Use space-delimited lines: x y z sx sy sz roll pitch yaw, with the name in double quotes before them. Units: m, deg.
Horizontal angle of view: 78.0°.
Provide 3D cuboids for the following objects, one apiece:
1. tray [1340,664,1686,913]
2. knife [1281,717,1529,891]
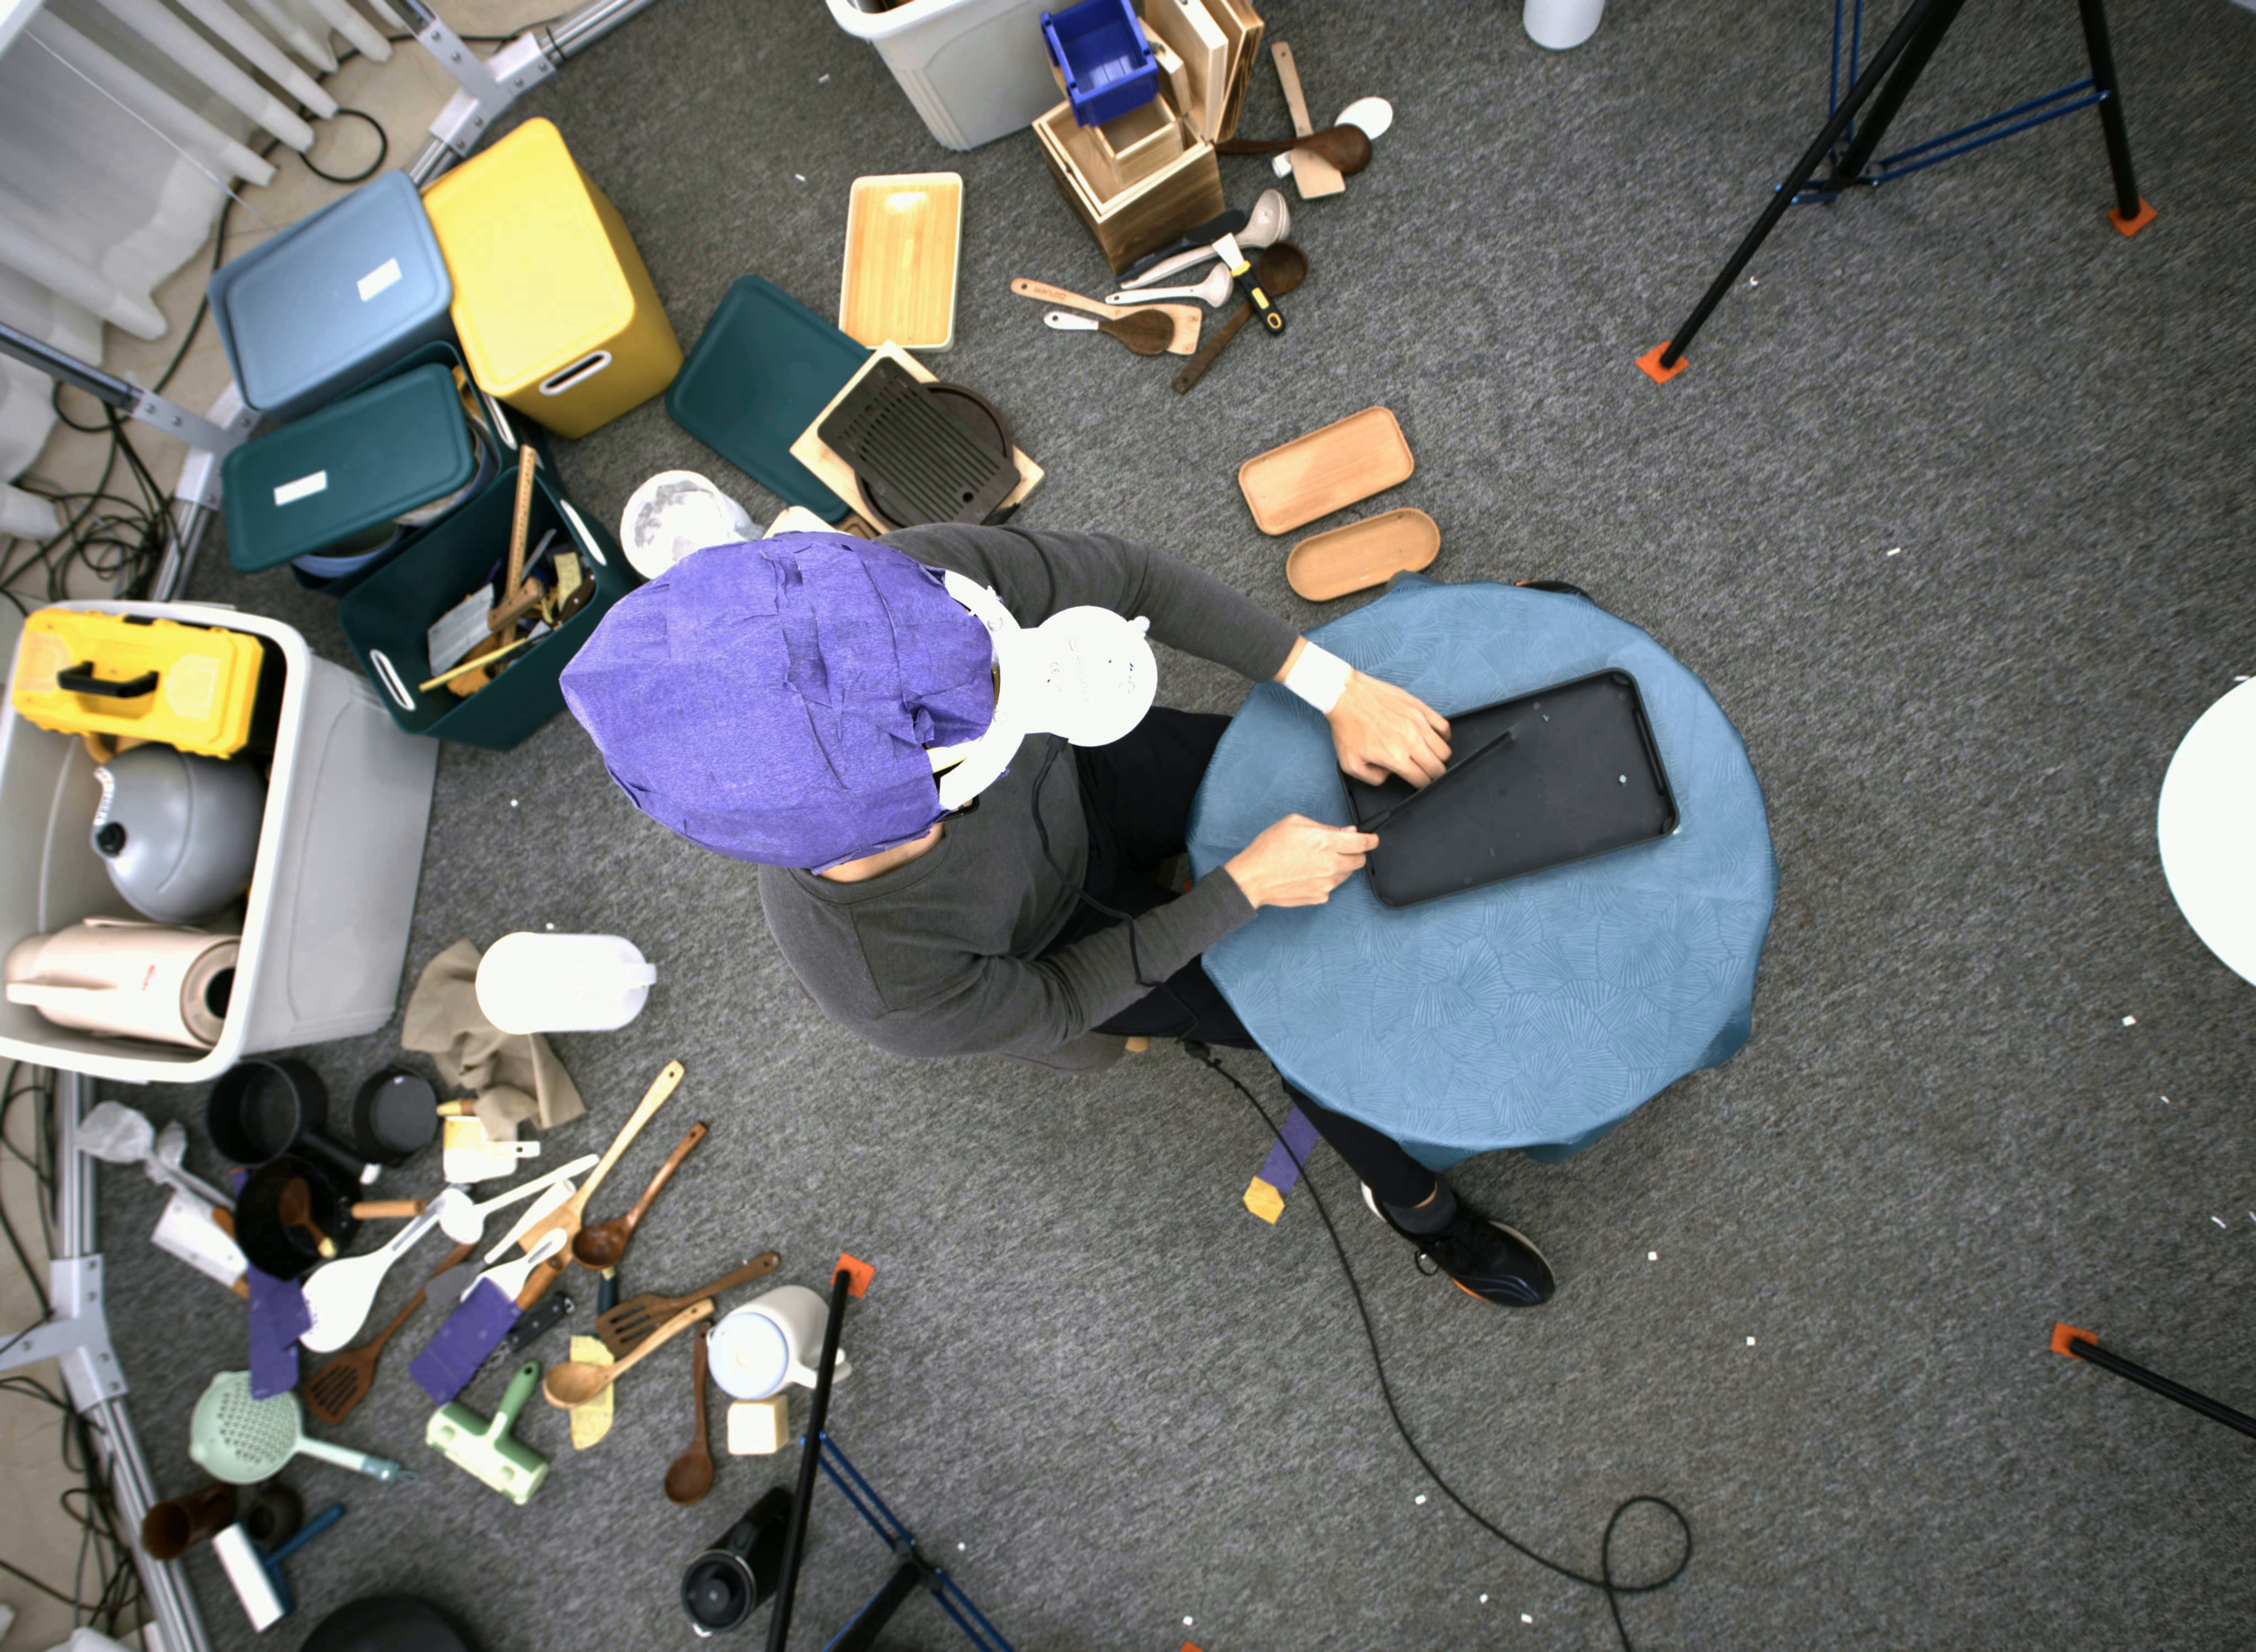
"tray" 0.395 -0.039 1.424 0.320 0.037 0.183 -18 83 9
"knife" 0.285 -0.025 1.416 0.303 0.081 0.020 -34 78 3
